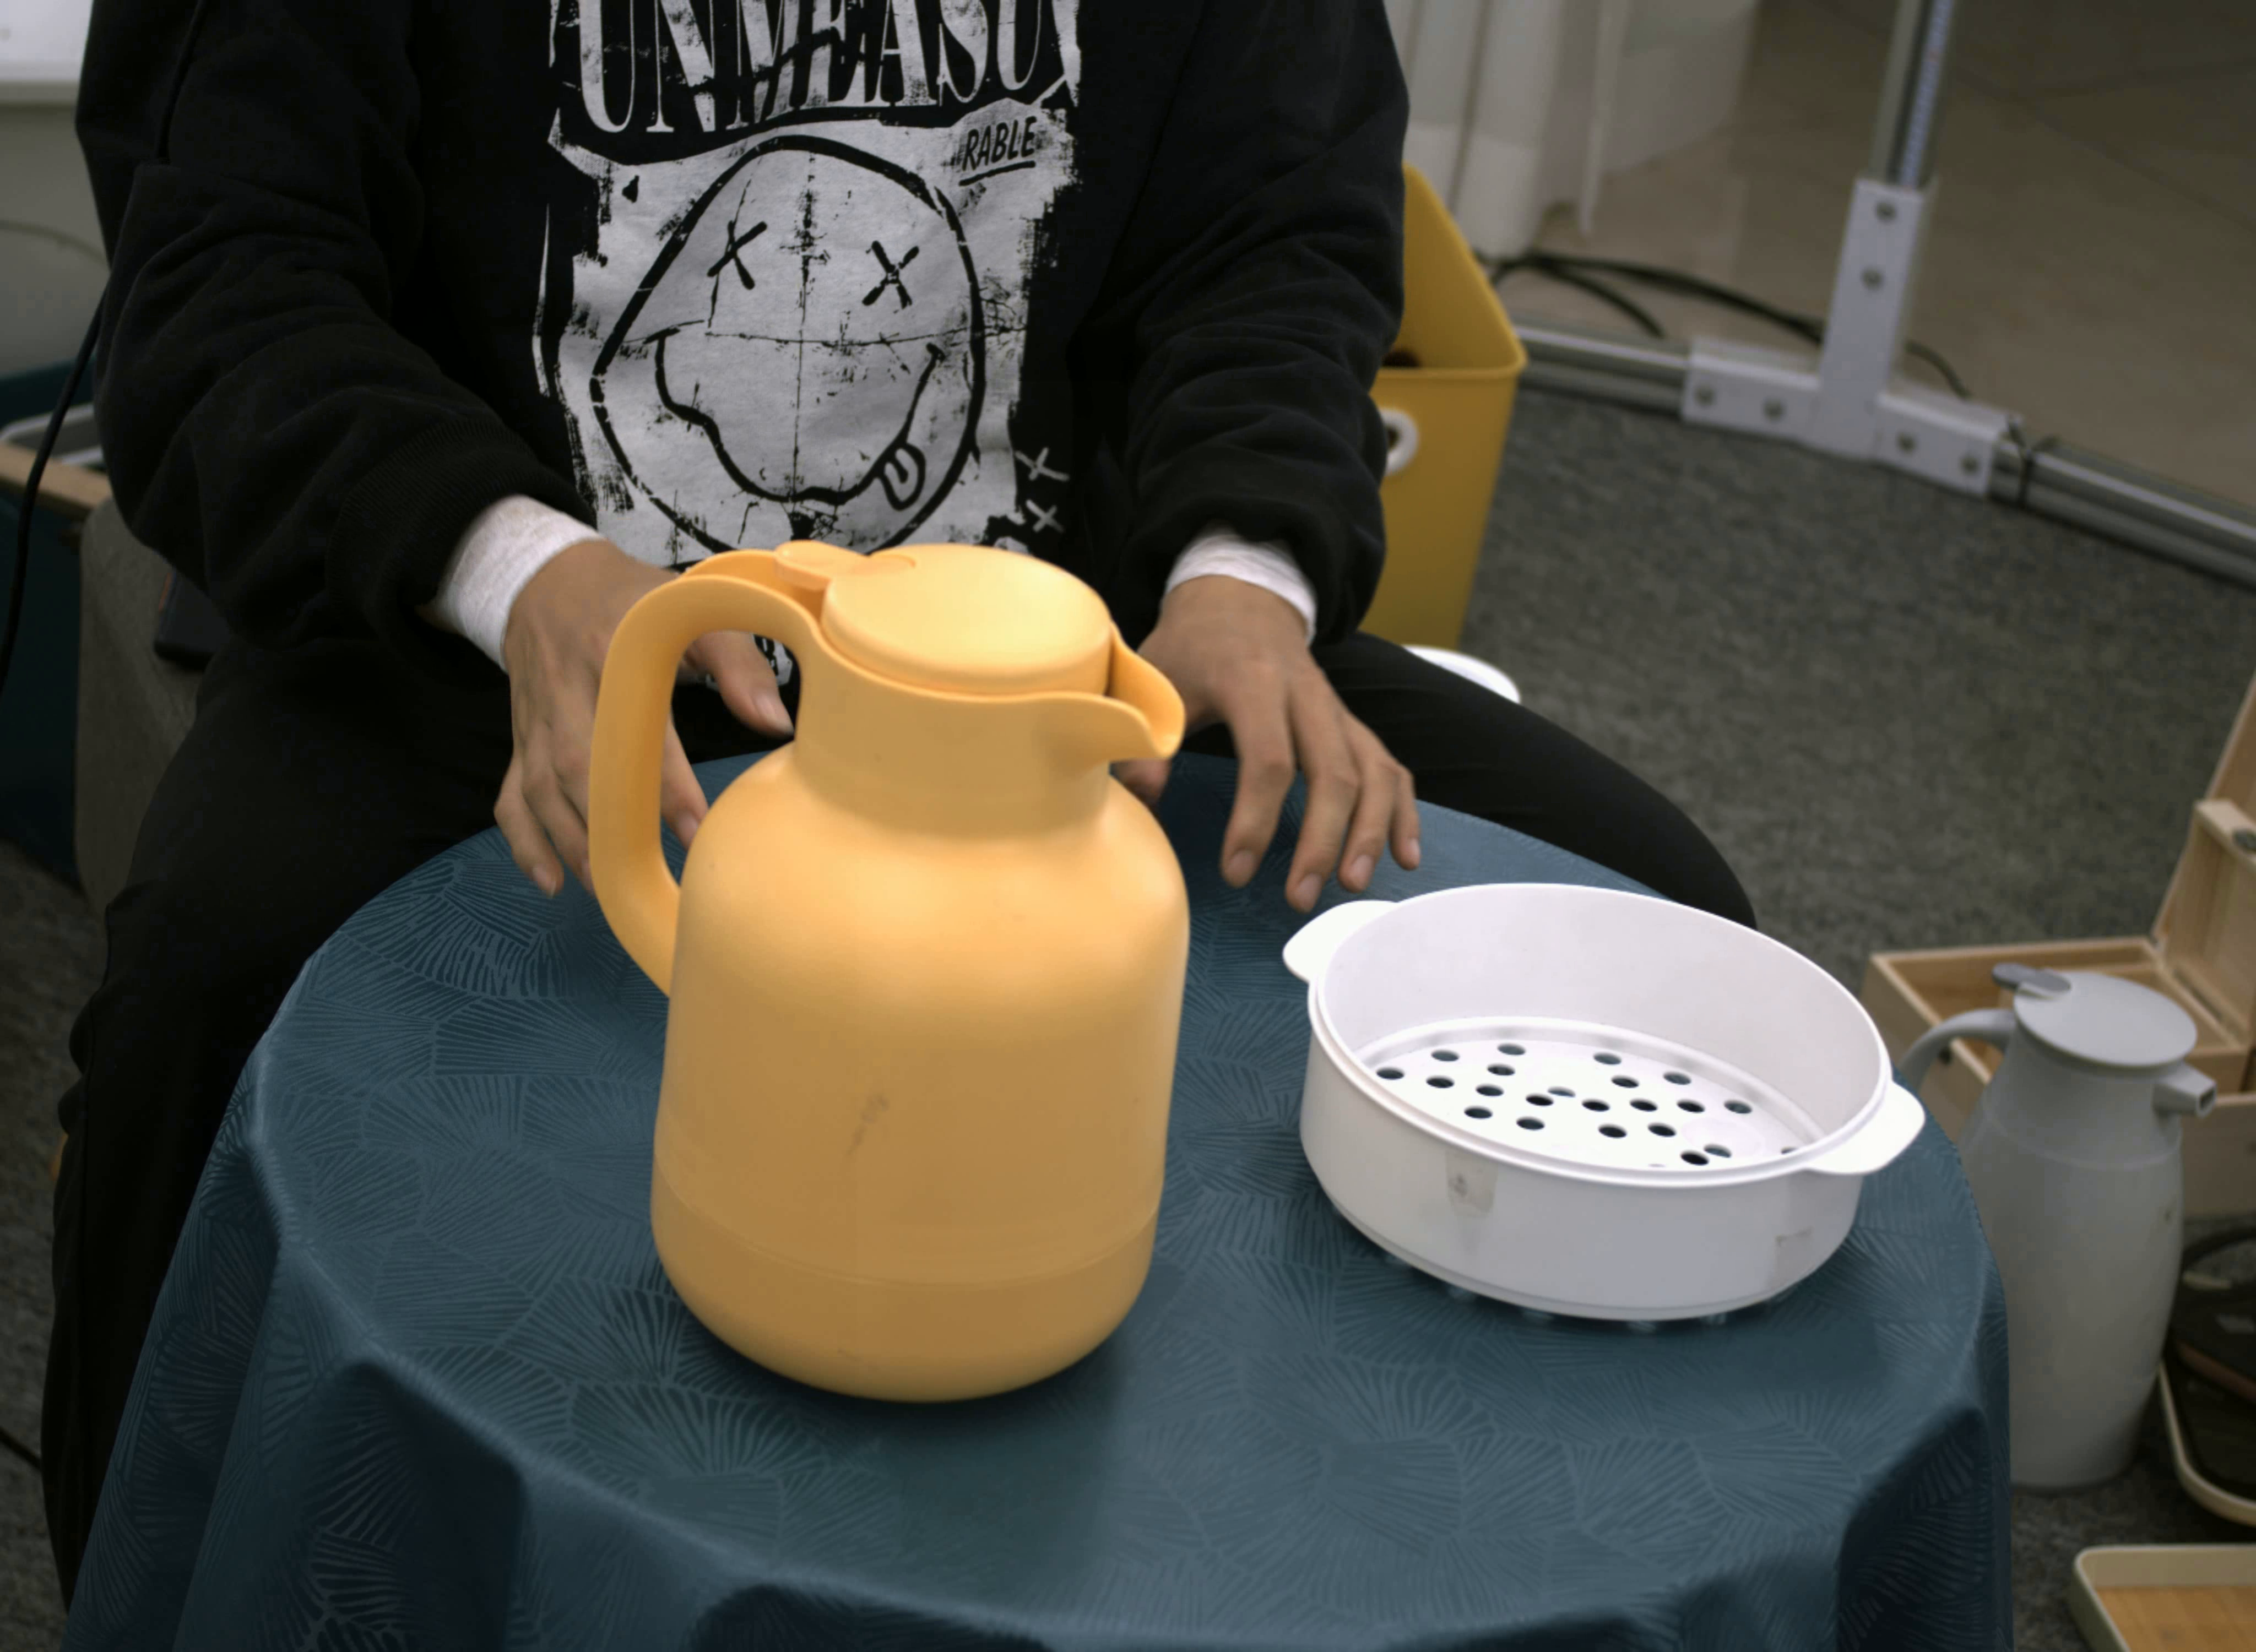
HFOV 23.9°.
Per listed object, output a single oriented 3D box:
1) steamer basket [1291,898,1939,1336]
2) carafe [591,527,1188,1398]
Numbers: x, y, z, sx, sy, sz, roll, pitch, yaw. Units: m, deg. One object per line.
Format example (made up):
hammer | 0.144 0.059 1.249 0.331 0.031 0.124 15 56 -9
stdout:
steamer basket | 0.161 0.100 1.823 0.231 0.069 0.201 20 30 25
carafe | -0.080 0.032 1.677 0.203 0.260 0.163 22 27 24
